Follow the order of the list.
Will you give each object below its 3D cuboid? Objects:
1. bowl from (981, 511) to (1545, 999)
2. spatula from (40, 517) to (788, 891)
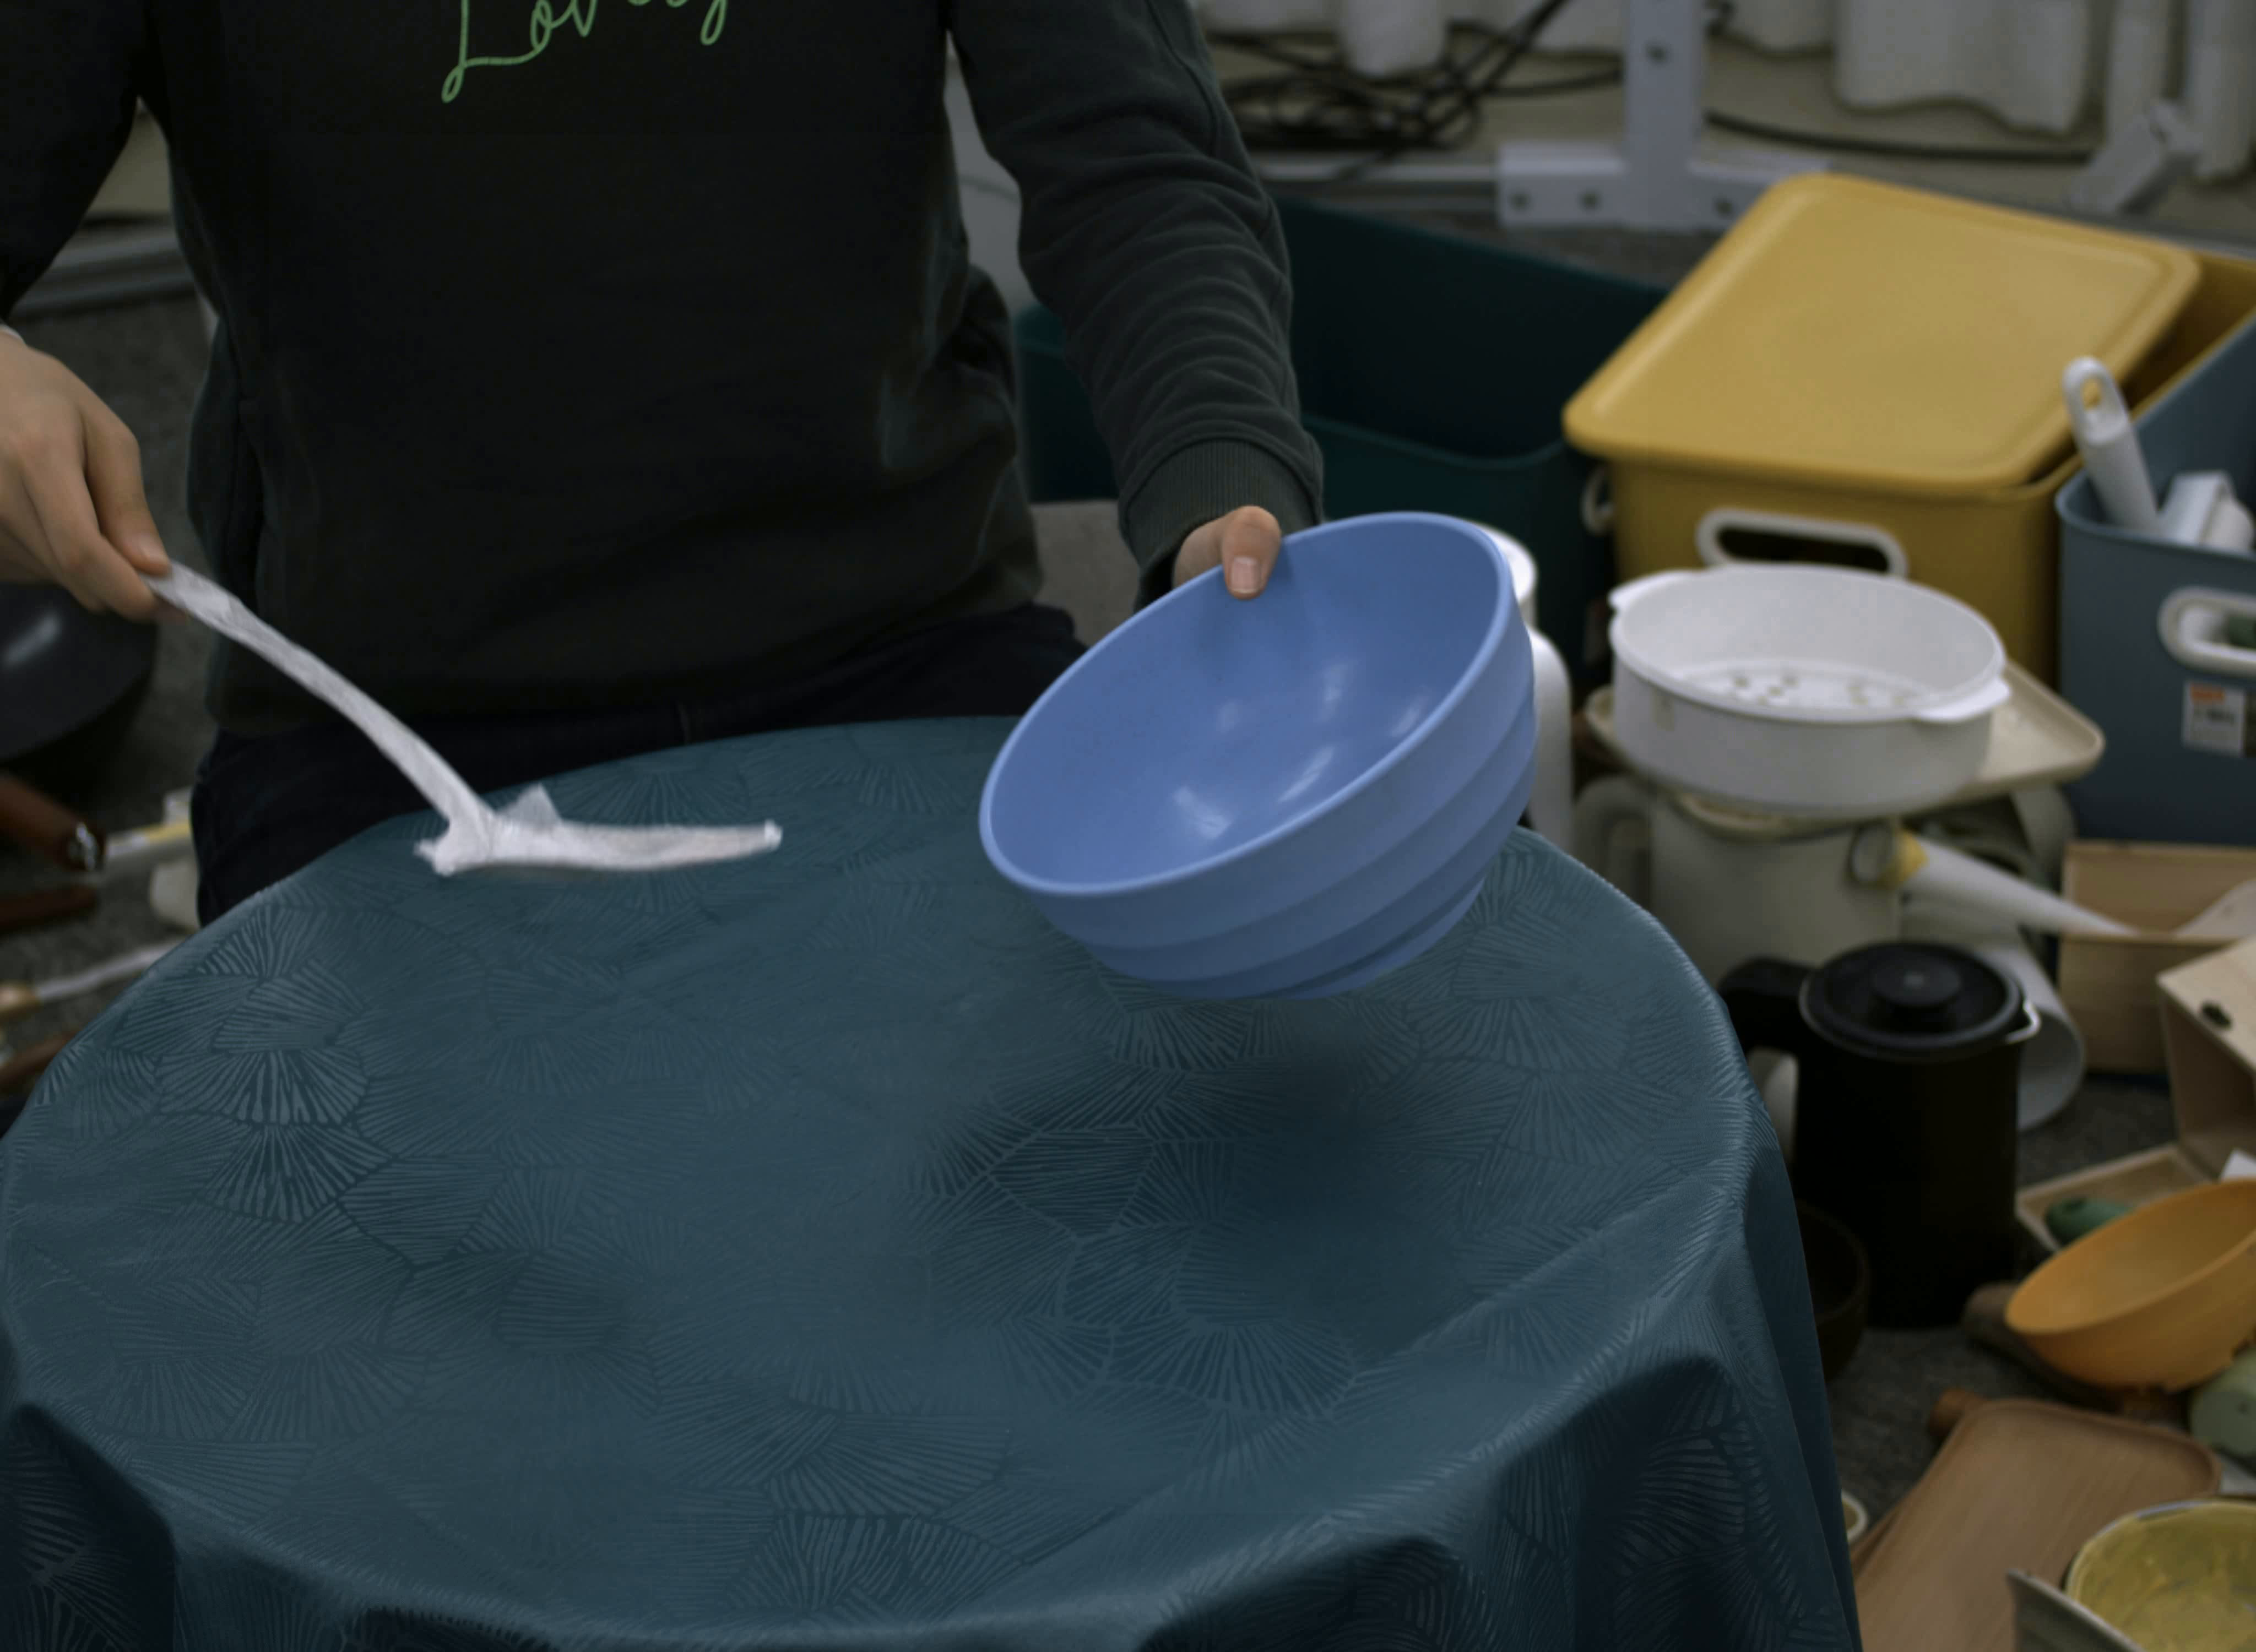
[{"bbox_3d":[0.058,-0.008,1.860,0.195,0.094,0.200,-22,28,13],"label":"bowl"},{"bbox_3d":[-0.251,-0.045,1.801,0.099,0.044,0.366,-8,30,-43],"label":"spatula"}]
